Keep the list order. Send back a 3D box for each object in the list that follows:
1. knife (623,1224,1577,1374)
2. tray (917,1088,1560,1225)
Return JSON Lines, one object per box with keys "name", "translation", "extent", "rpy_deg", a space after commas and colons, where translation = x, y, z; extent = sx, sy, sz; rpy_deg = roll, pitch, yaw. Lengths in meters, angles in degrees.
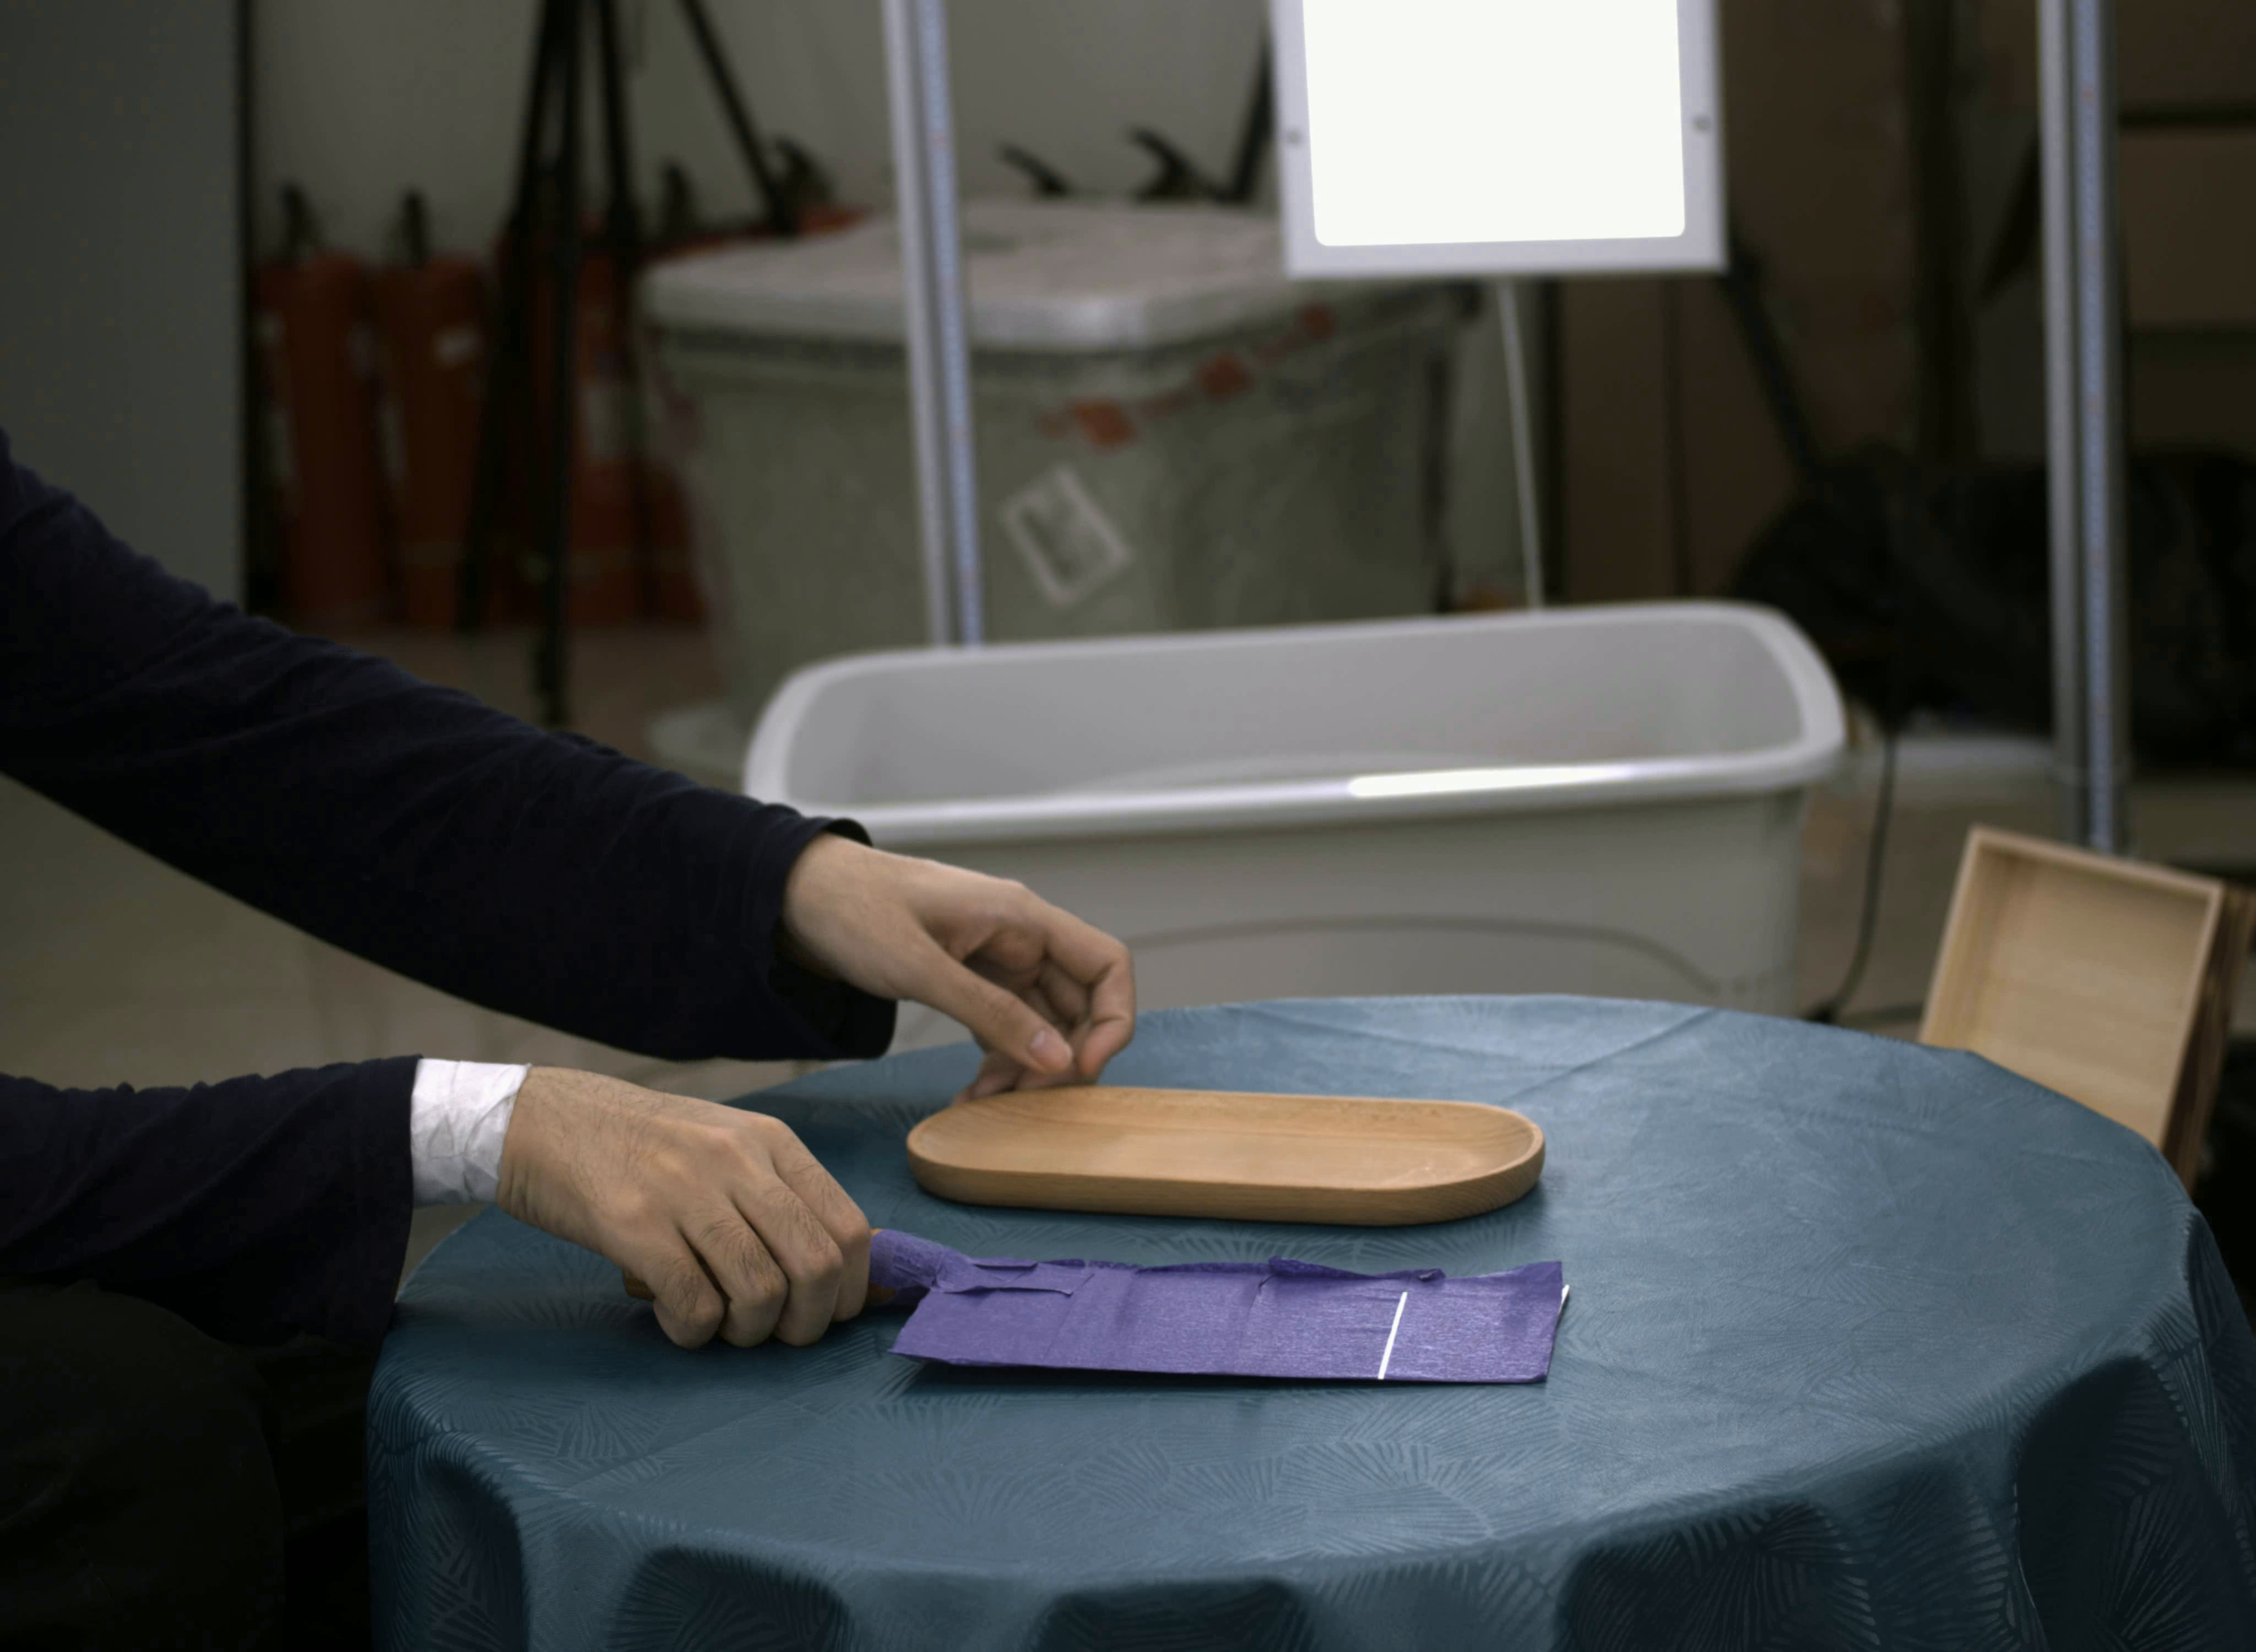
{"name": "knife", "translation": [-0.016, 0.151, 1.753], "extent": [0.318, 0.032, 0.102], "rpy_deg": [-1, 14, 13]}
{"name": "tray", "translation": [0.037, 0.114, 1.907], "extent": [0.234, 0.020, 0.100], "rpy_deg": [2, 16, 23]}
